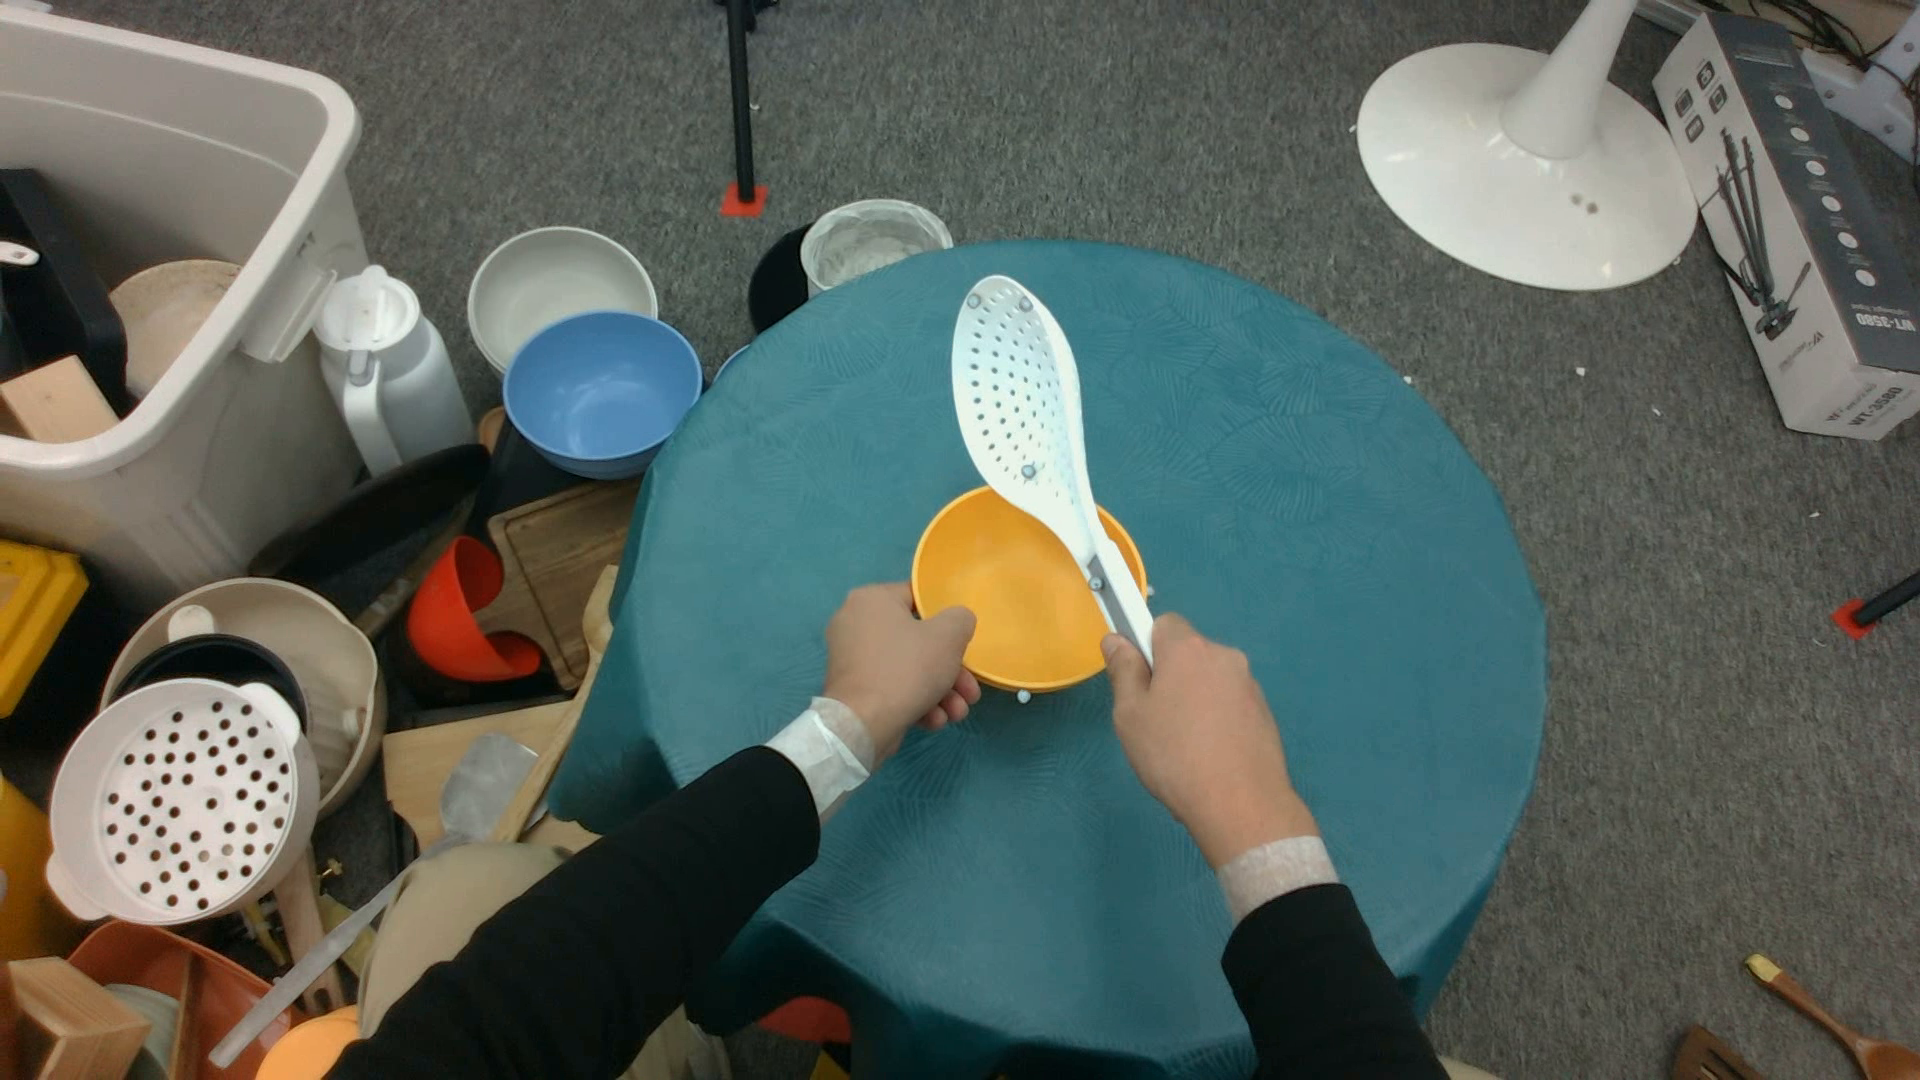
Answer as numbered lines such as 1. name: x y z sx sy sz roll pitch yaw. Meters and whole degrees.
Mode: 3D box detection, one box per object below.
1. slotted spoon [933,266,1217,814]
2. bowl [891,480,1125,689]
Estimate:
1. slotted spoon: 0.061 -0.007 0.784 0.046 0.135 0.351 -6 59 -23
2. bowl: 0.028 0.037 0.859 0.145 0.060 0.146 2 57 -3
